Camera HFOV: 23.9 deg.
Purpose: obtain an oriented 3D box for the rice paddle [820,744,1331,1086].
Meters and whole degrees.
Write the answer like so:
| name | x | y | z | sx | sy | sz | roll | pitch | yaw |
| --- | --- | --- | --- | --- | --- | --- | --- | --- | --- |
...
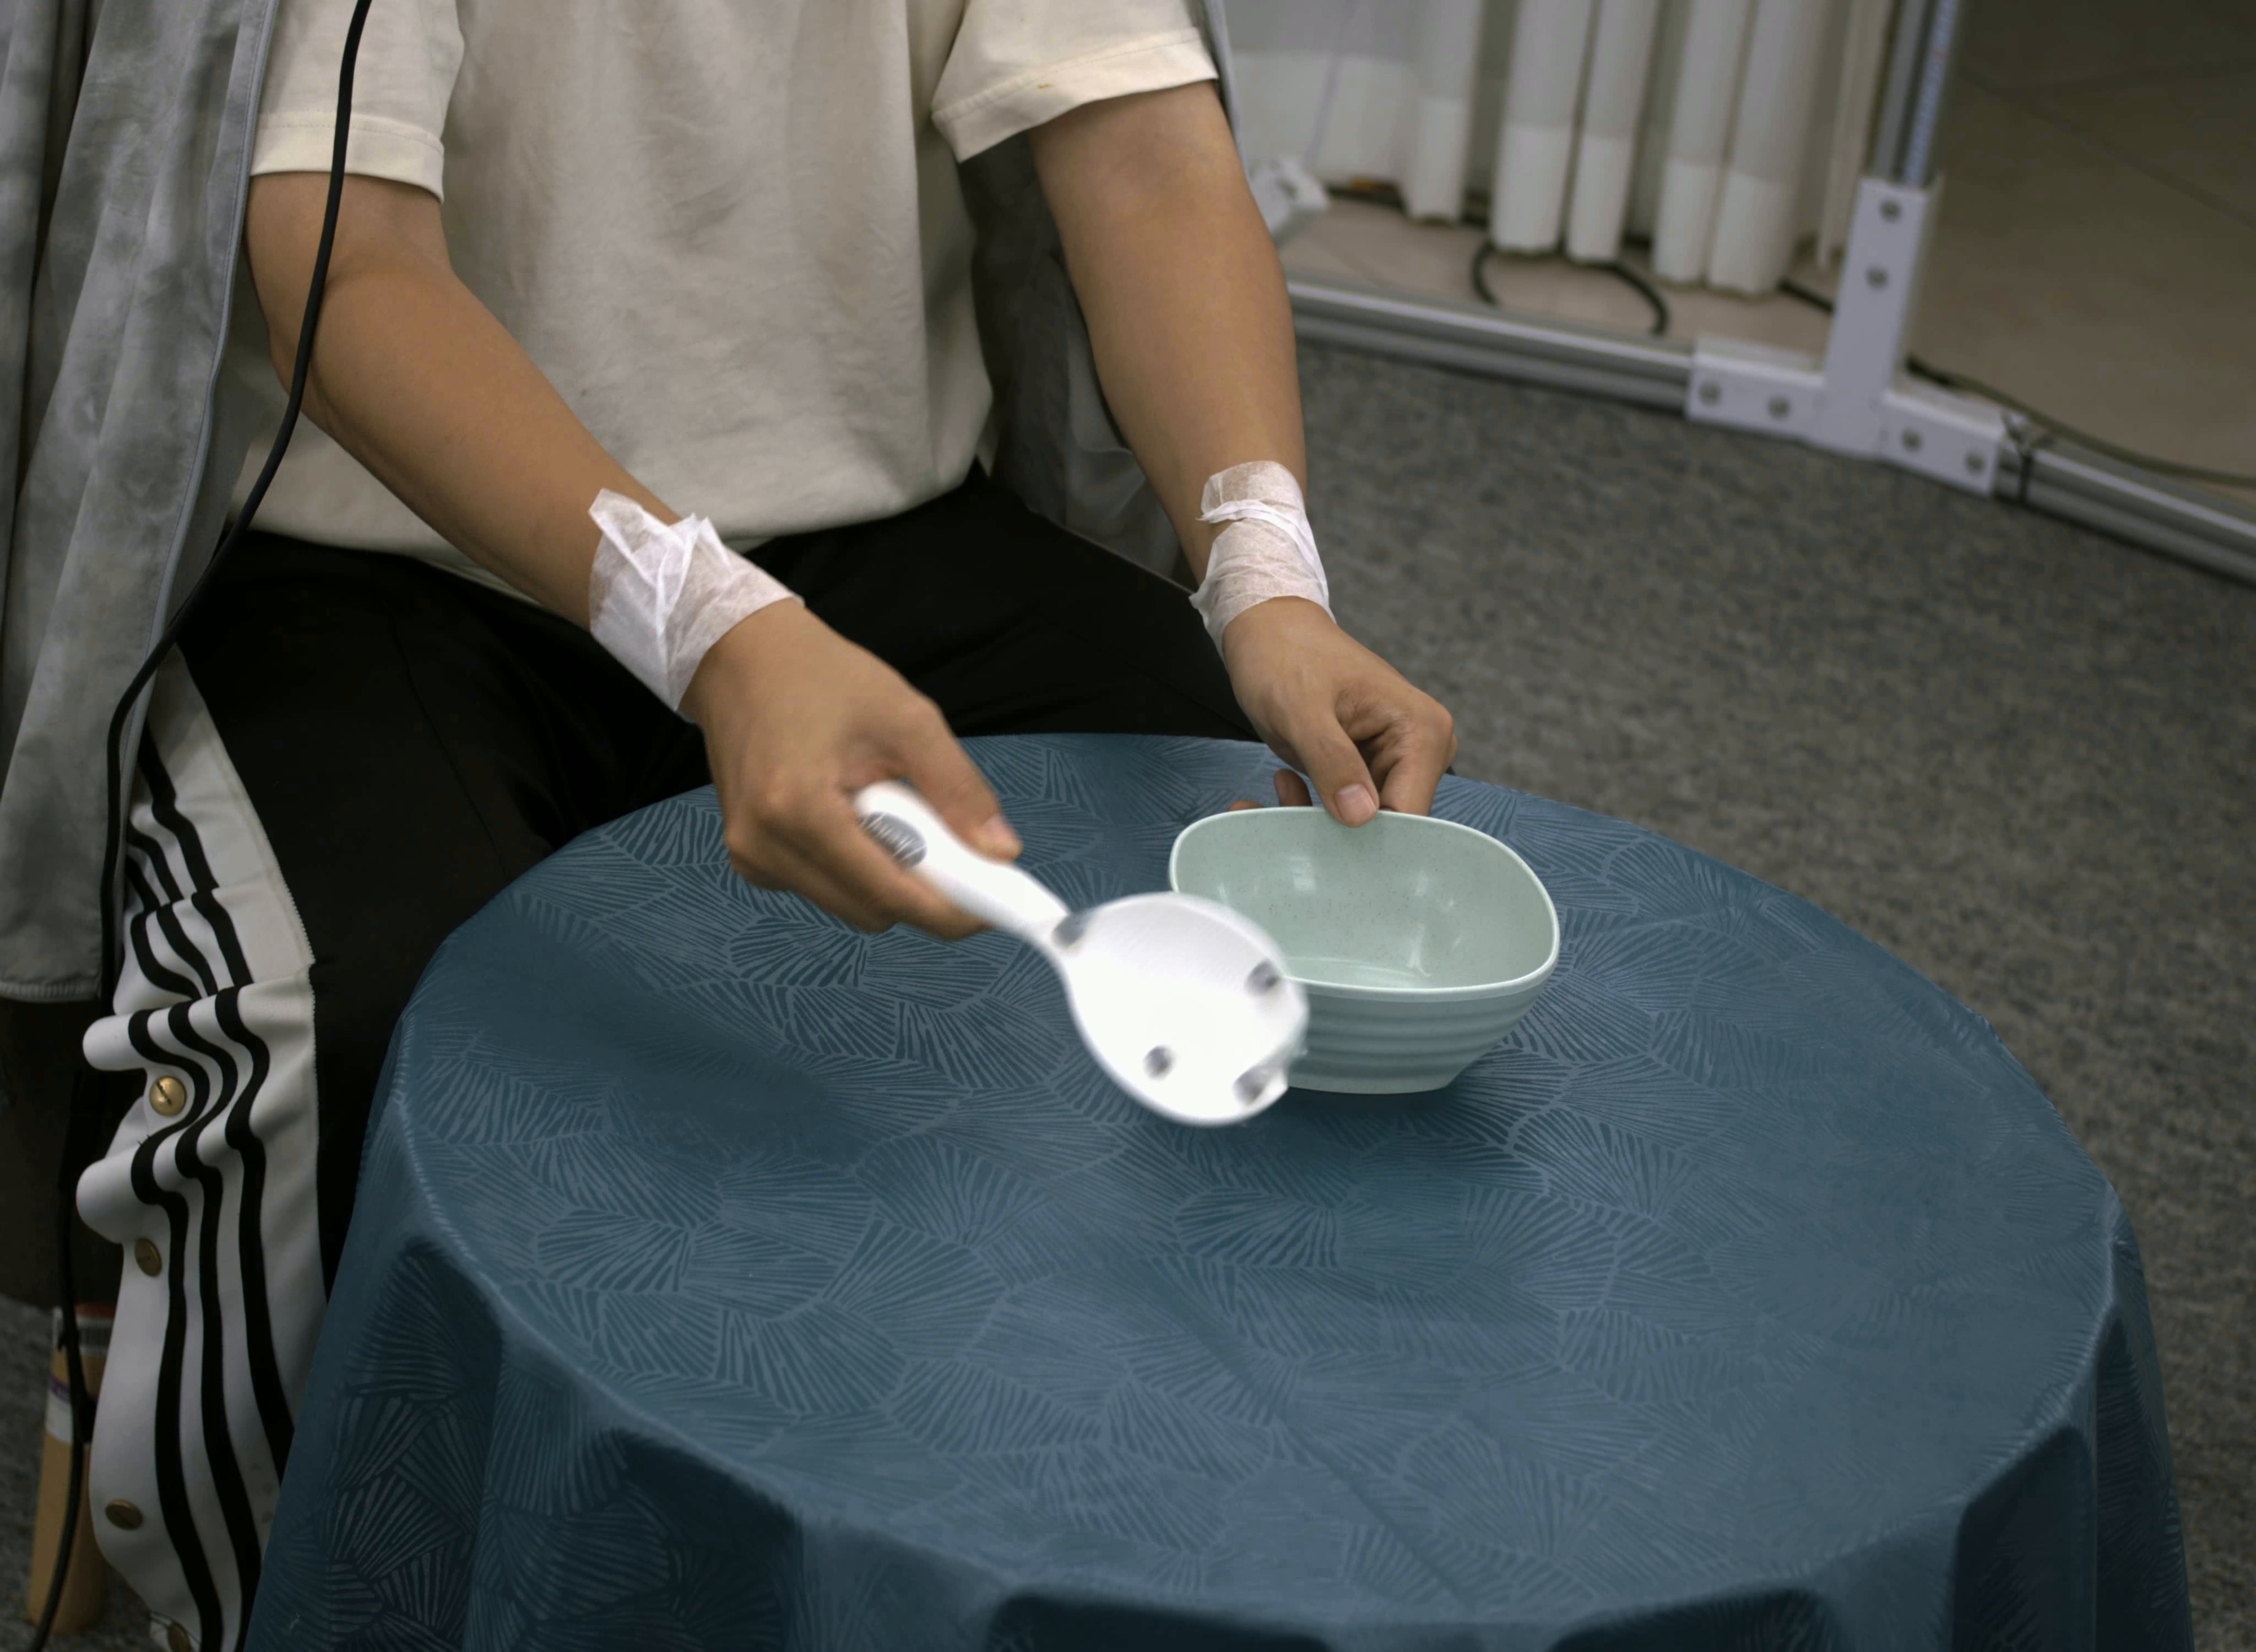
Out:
| name | x | y | z | sx | sy | sz | roll | pitch | yaw |
| --- | --- | --- | --- | --- | --- | --- | --- | --- | --- |
| rice paddle | -0.017 | 0.026 | 1.792 | 0.206 | 0.069 | 0.029 | 27 | 10 | 29 |

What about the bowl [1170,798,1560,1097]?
| name | x | y | z | sx | sy | sz | roll | pitch | yaw |
| --- | --- | --- | --- | --- | --- | --- | --- | --- | --- |
| bowl | 0.081 | 0.050 | 1.905 | 0.151 | 0.058 | 0.152 | 5 | 30 | -3 |
